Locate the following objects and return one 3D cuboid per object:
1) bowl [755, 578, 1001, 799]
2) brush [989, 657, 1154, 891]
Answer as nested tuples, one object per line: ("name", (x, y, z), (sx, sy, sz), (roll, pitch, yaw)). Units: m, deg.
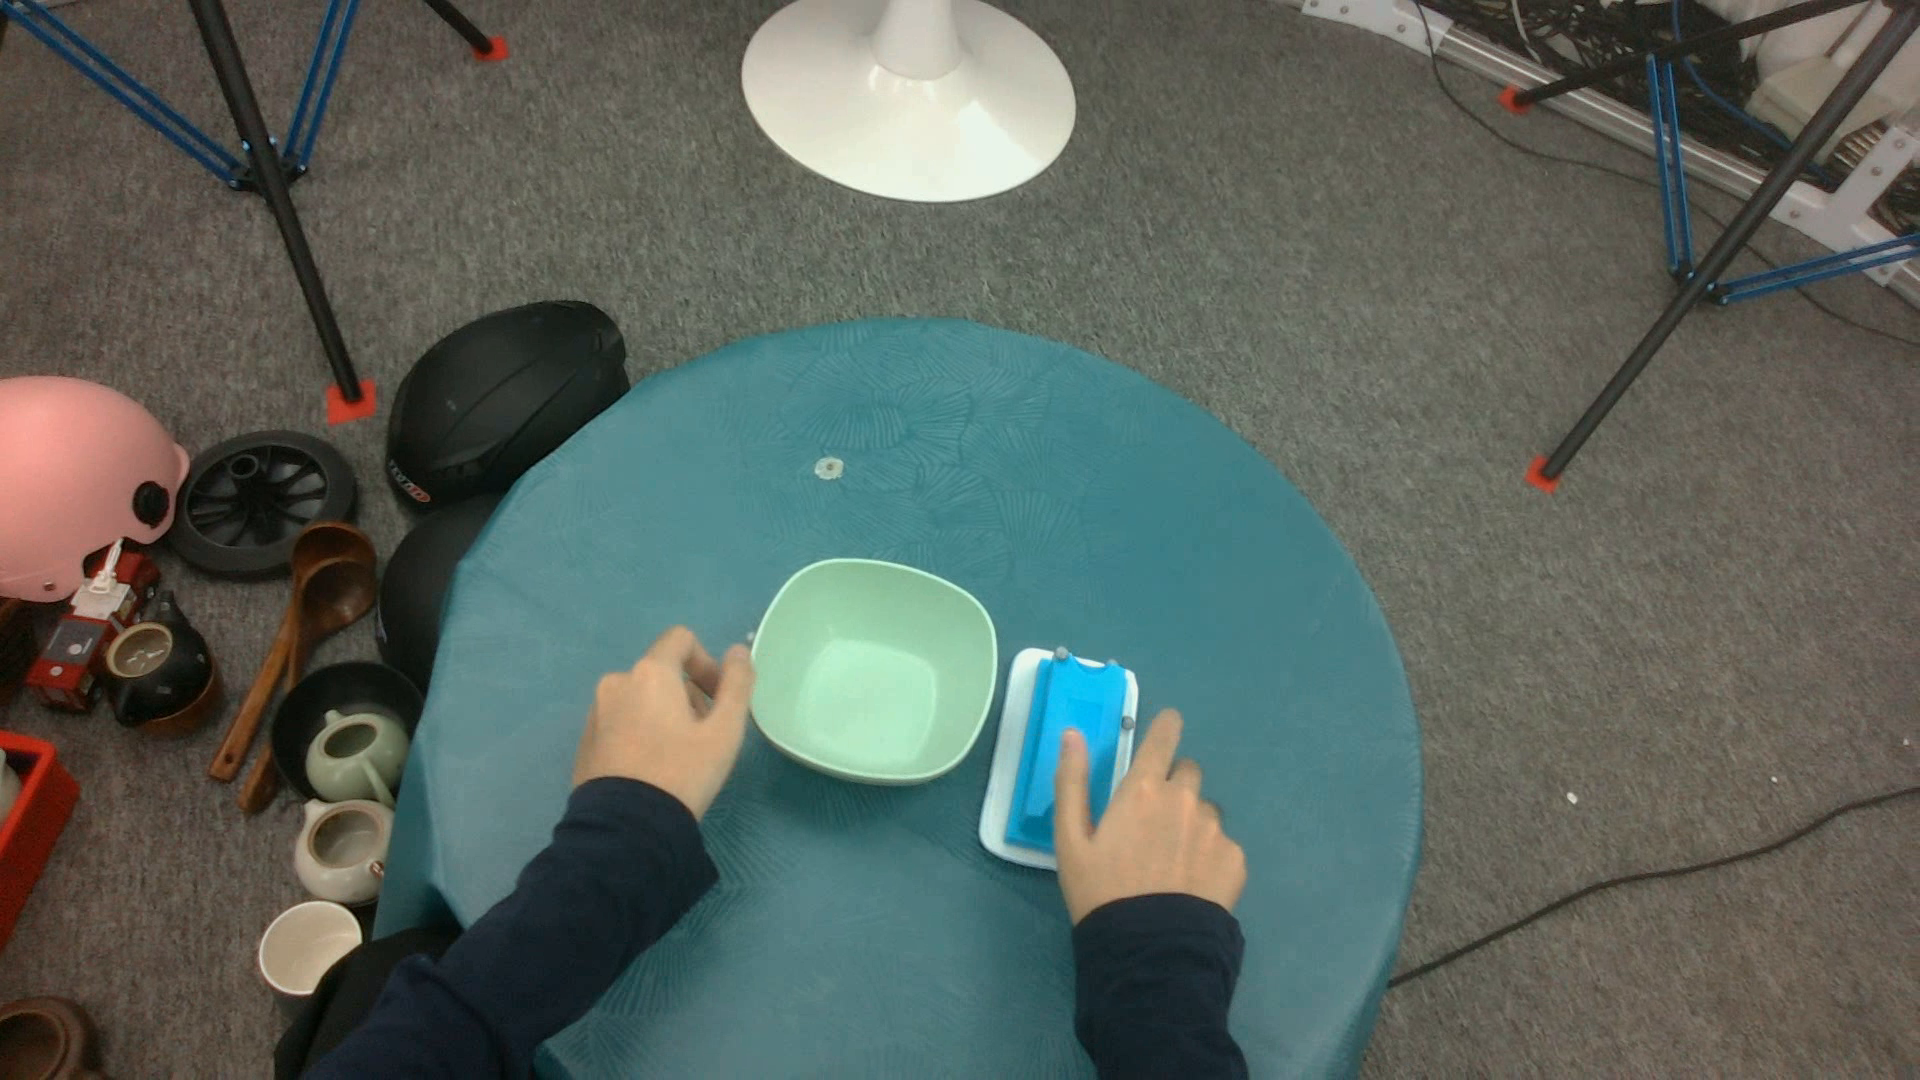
("bowl", (-0.048, 0.096, 0.809), (0.151, 0.058, 0.152), (3, 55, -4))
("brush", (0.068, 0.127, 0.799), (0.084, 0.055, 0.144), (11, 52, 4))
